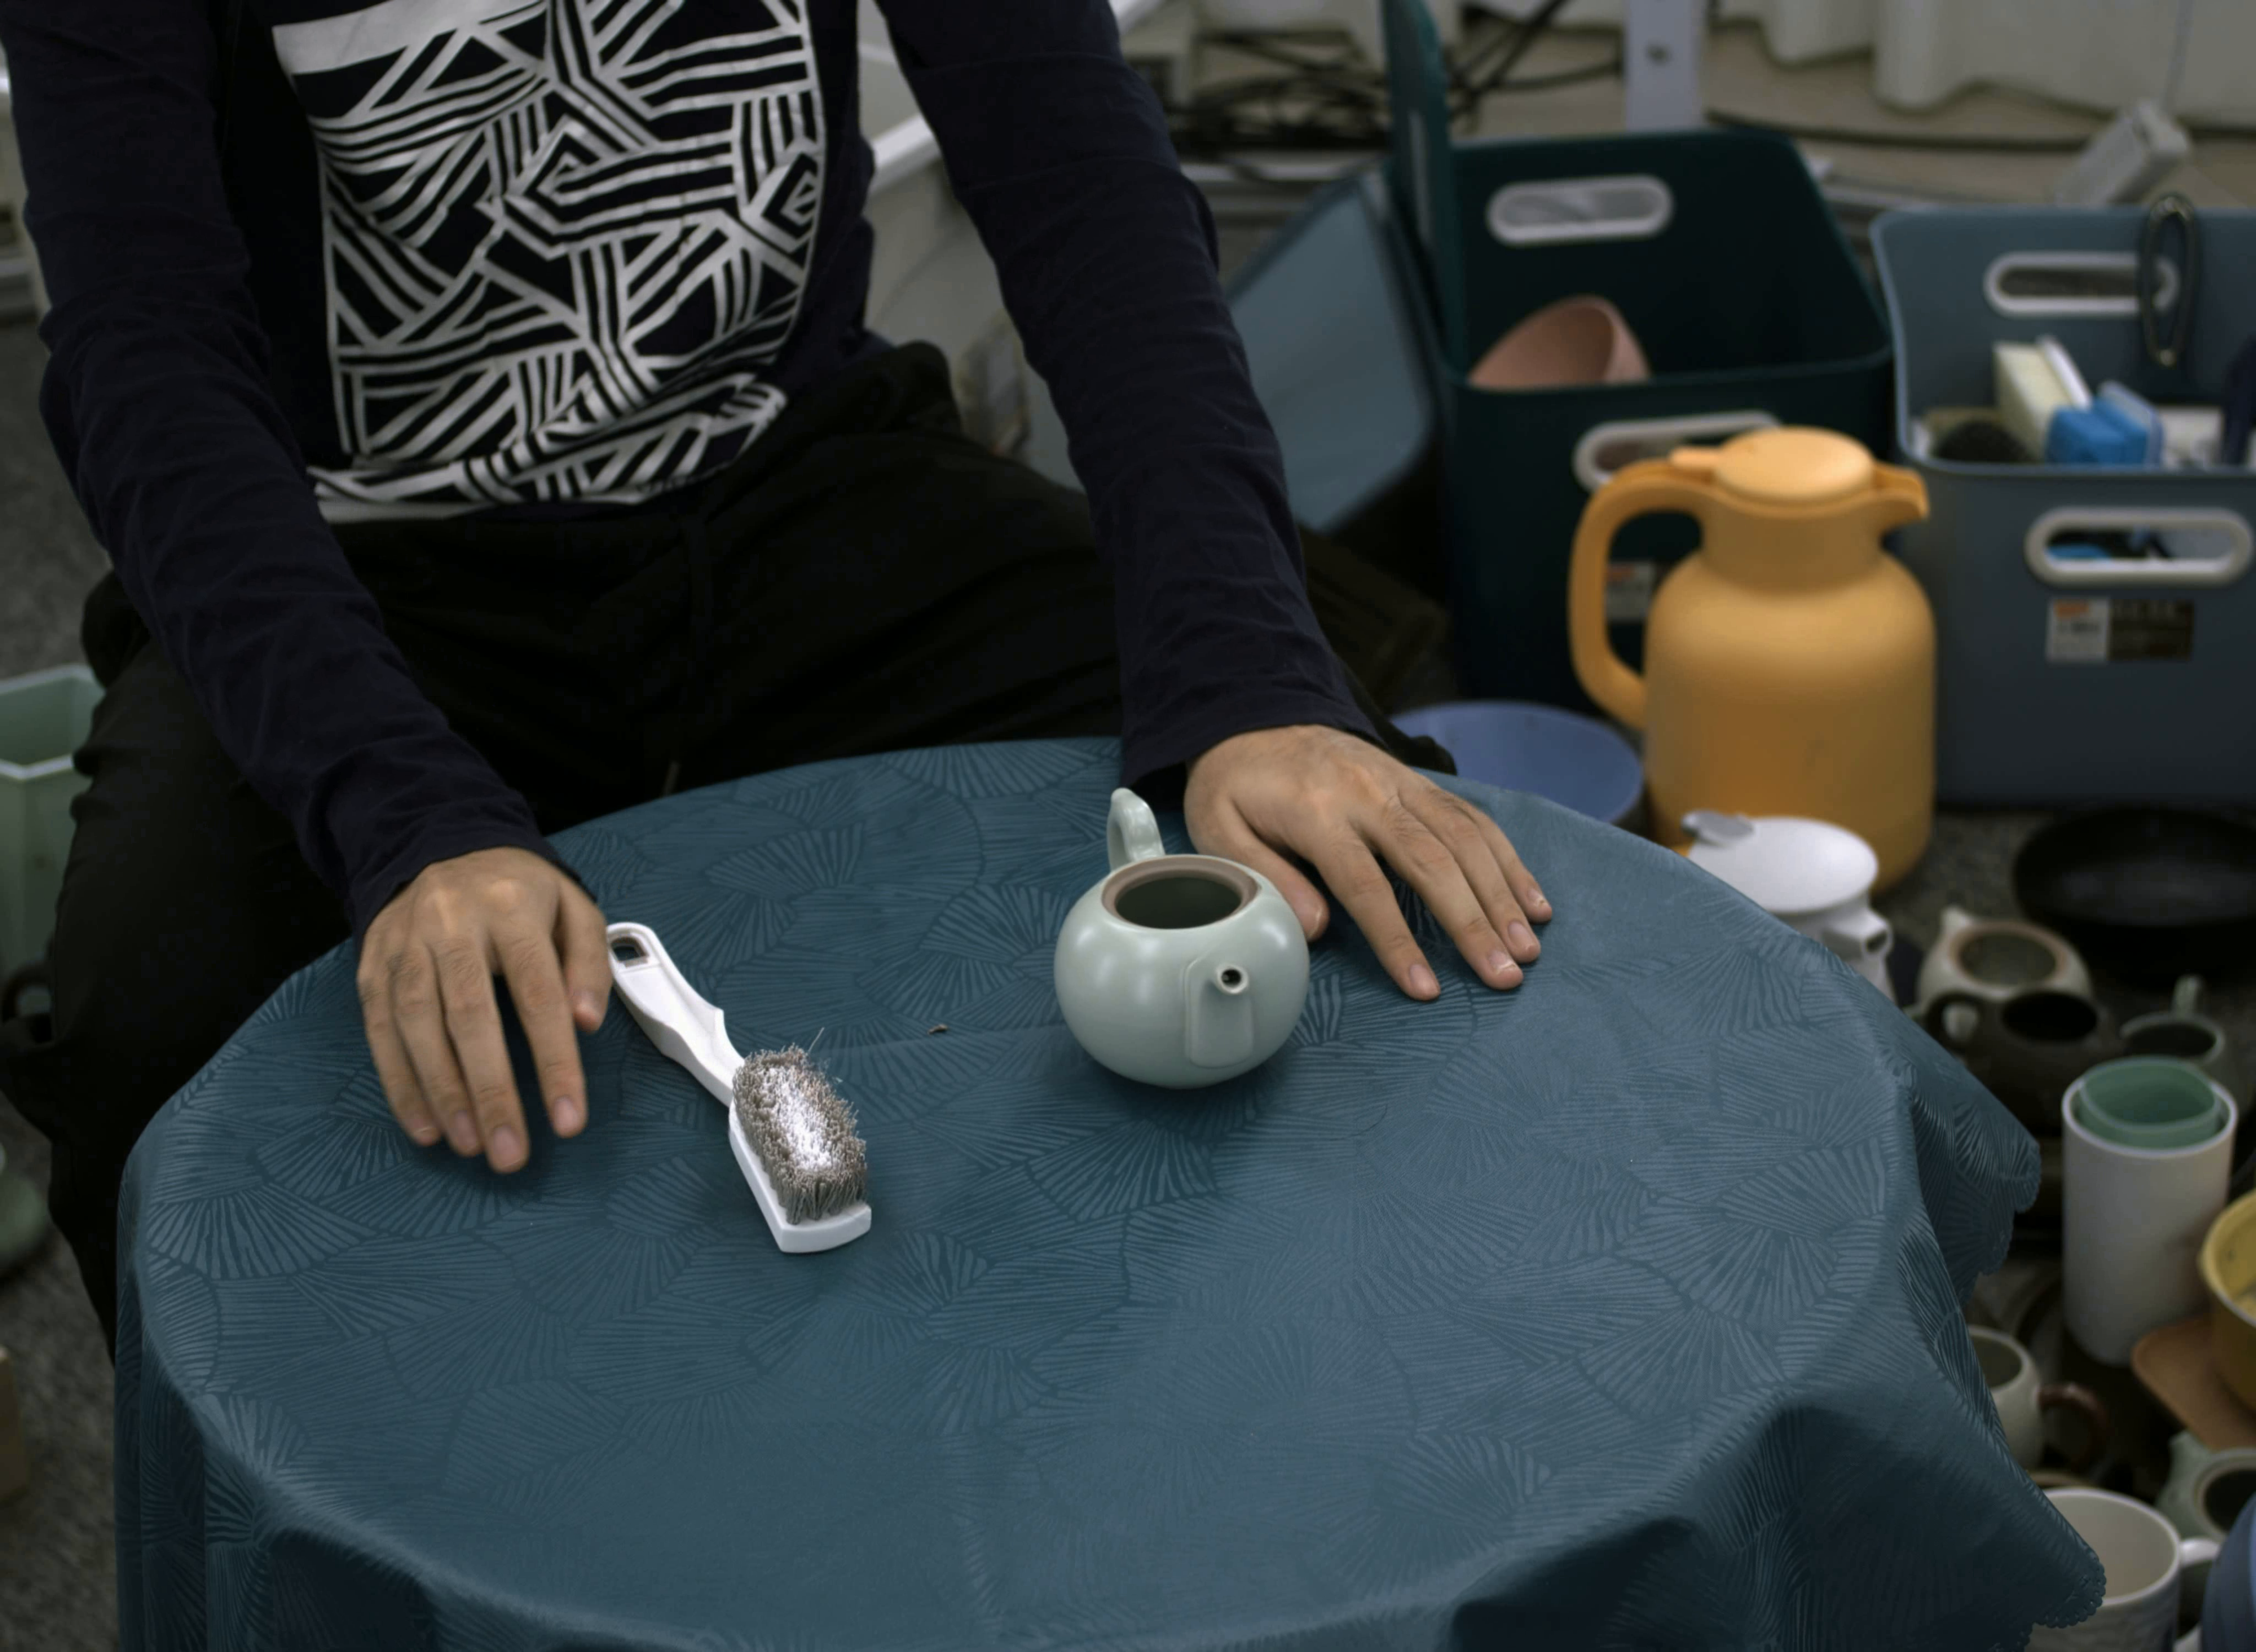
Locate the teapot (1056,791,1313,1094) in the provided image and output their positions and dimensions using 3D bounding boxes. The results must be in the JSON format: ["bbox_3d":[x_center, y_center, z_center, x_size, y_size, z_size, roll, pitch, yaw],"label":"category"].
[{"bbox_3d":[0.019,0.050,1.920,0.088,0.074,0.145,-10,29,-10],"label":"teapot"}]

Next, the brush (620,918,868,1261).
[{"bbox_3d":[-0.137,0.072,1.916,0.034,0.049,0.246,-15,30,-13],"label":"brush"}]
